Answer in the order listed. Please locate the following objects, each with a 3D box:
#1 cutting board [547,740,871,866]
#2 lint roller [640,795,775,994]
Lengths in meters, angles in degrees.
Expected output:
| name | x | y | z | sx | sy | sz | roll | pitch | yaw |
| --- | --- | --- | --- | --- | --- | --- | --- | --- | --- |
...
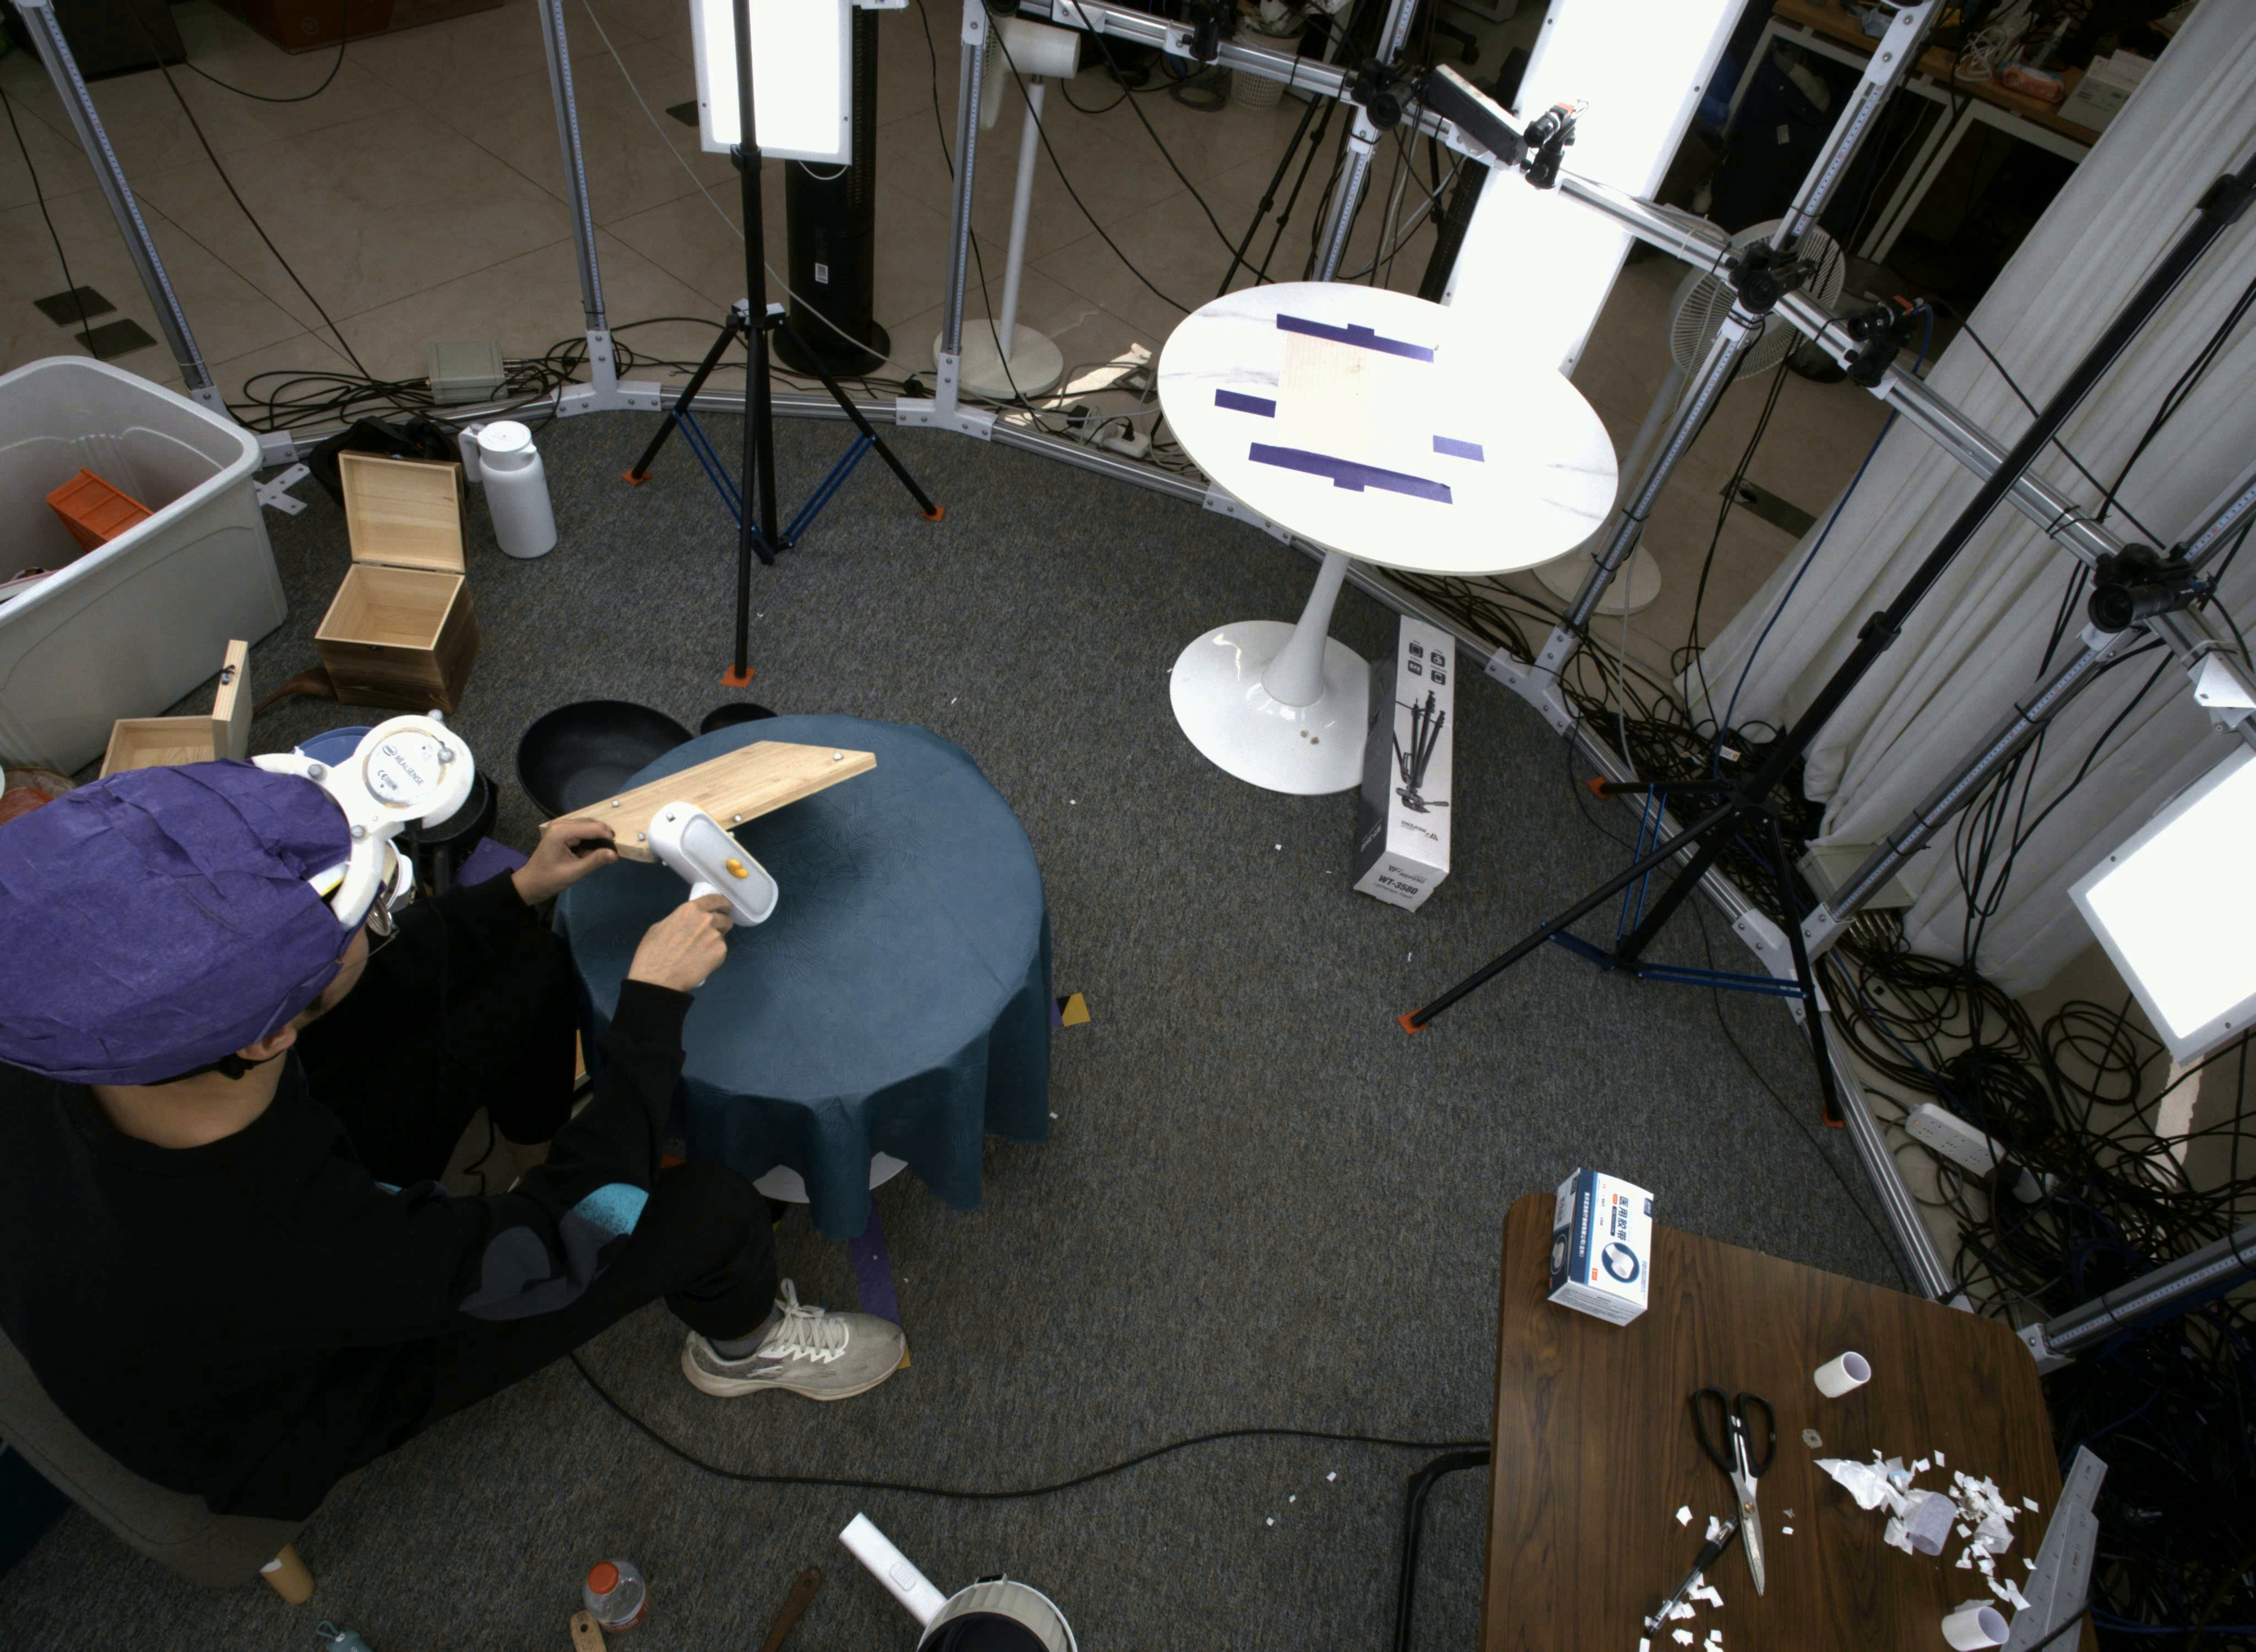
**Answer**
| name | x | y | z | sx | sy | sz | roll | pitch | yaw |
| --- | --- | --- | --- | --- | --- | --- | --- | --- | --- |
| cutting board | -0.520 | -0.037 | 1.589 | 0.242 | 0.024 | 0.351 | 7 | 25 | 37 |
| lint roller | -0.470 | 0.089 | 1.414 | 0.072 | 0.200 | 0.191 | 0 | 61 | 20 |
